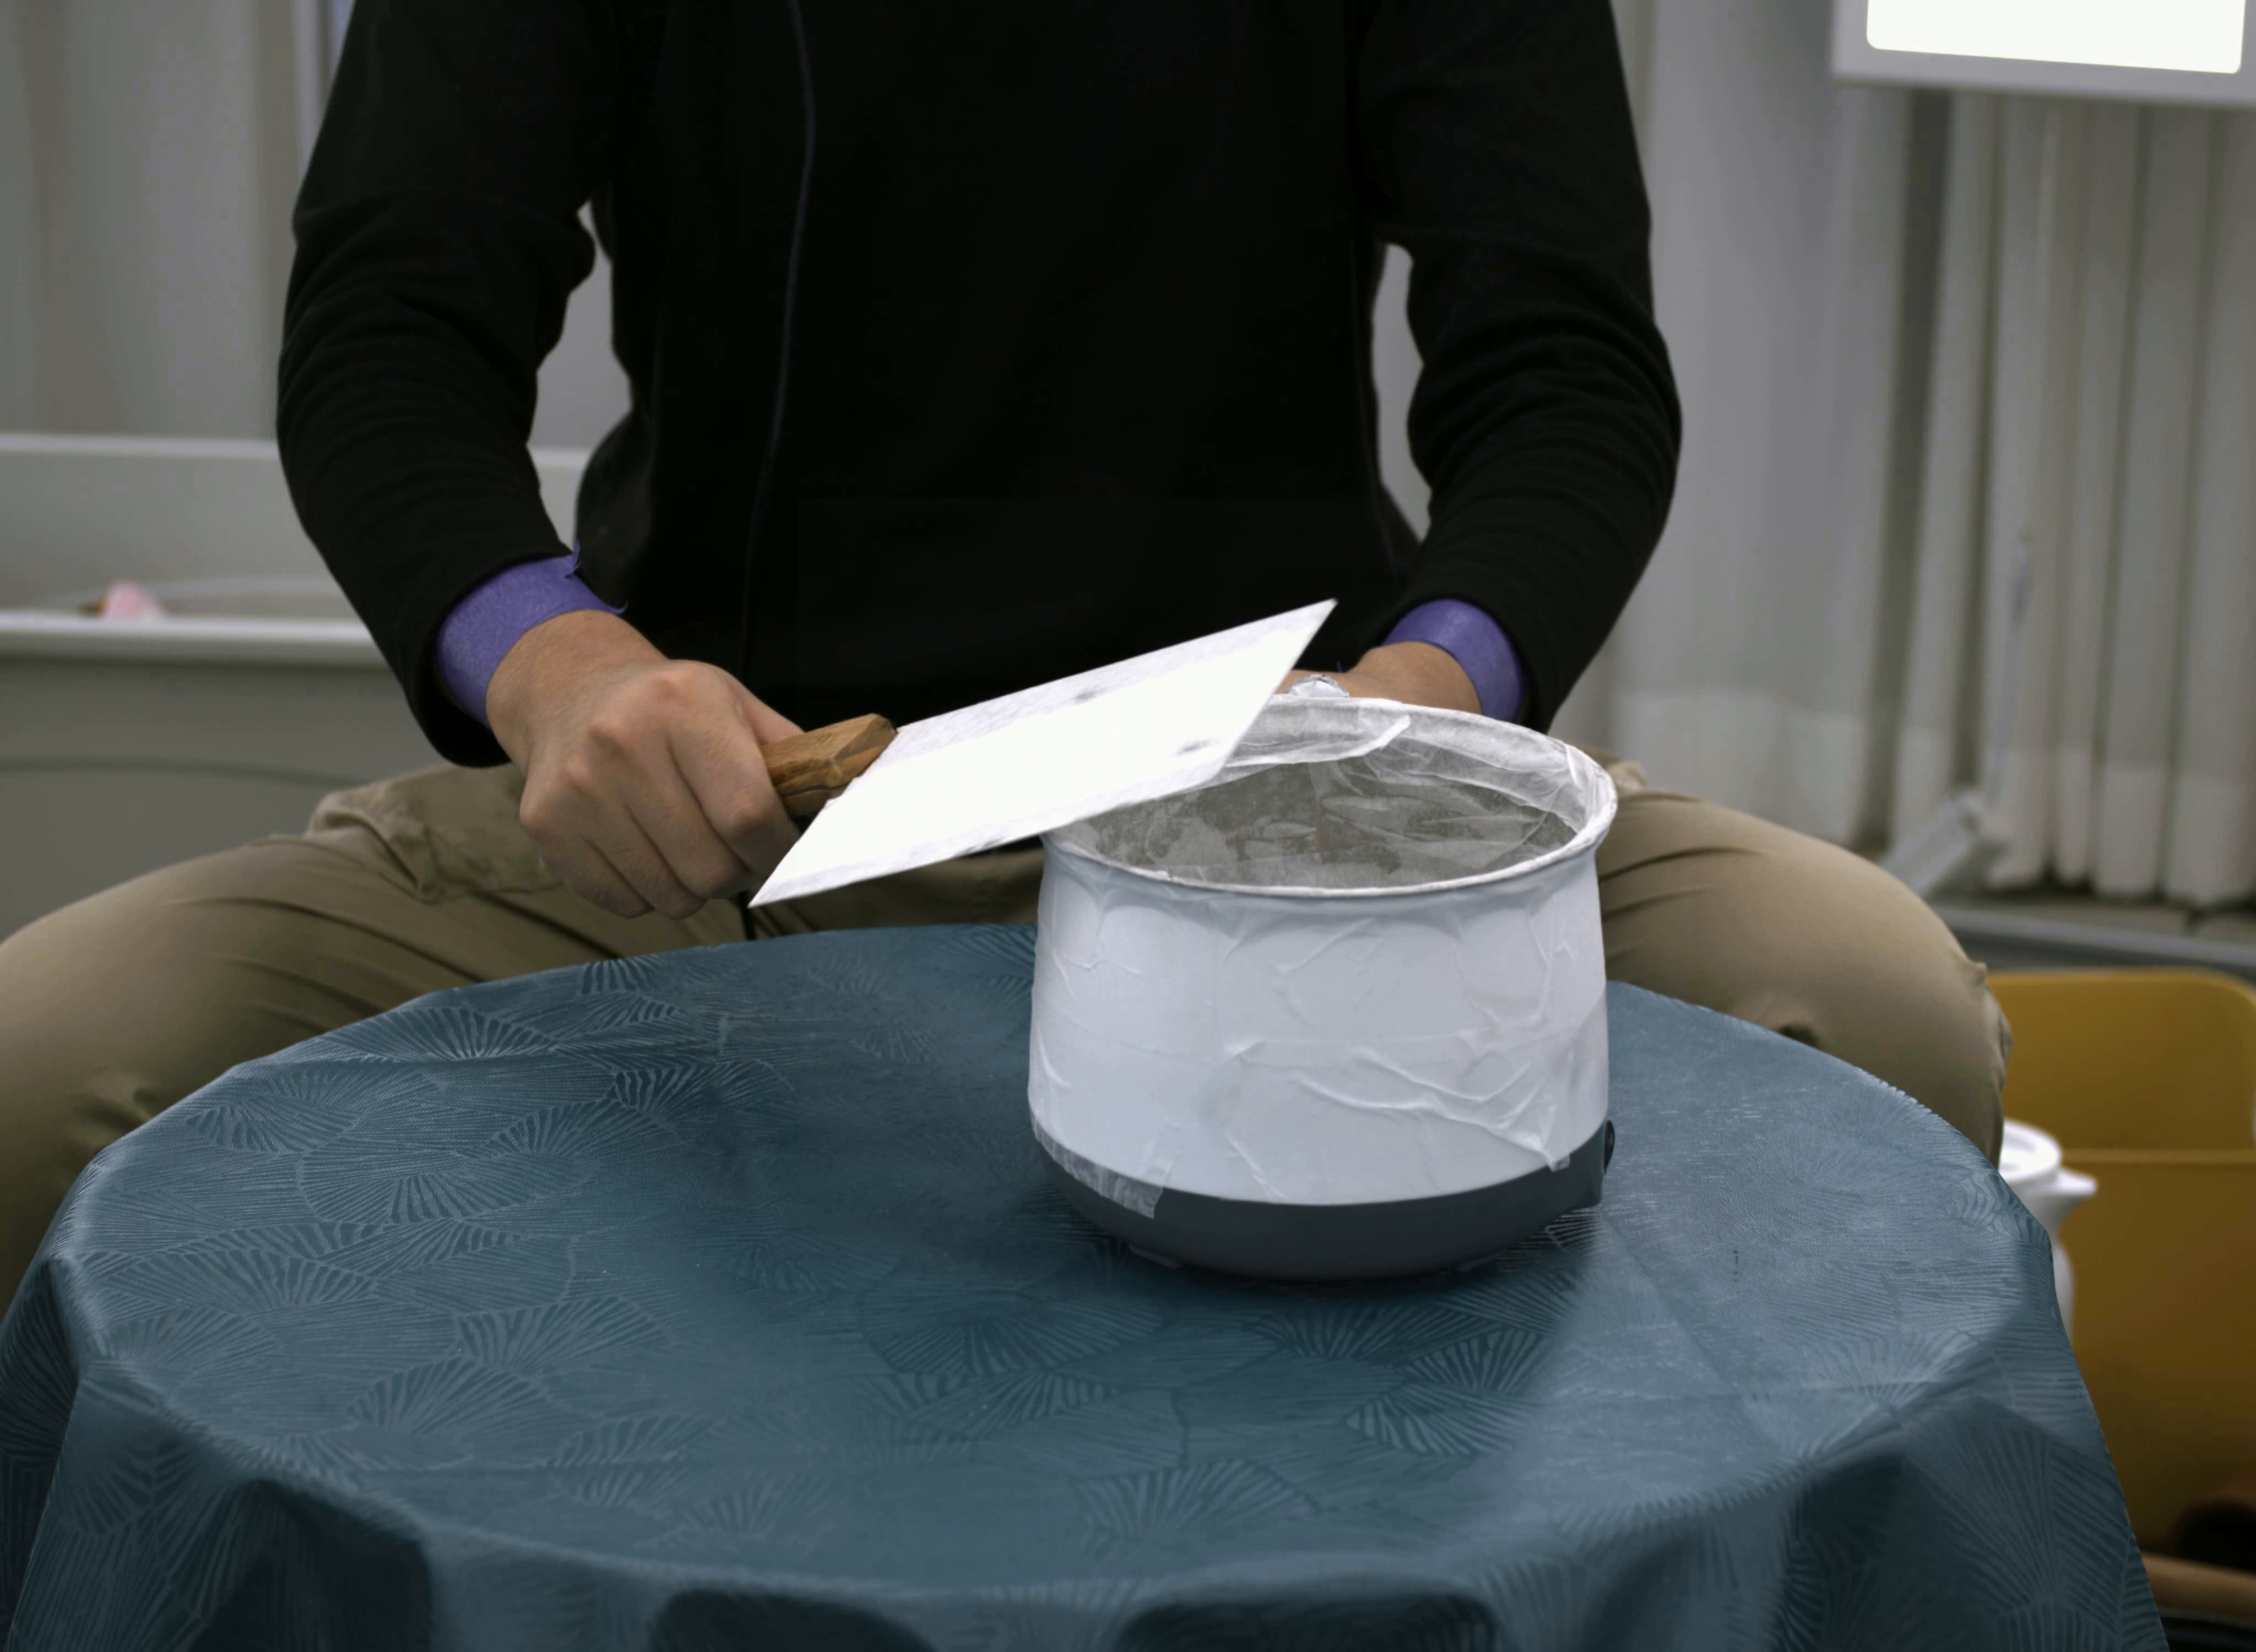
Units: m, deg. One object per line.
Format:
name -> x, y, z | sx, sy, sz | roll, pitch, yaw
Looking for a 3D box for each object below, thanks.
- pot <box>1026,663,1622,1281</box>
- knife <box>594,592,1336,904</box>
pot -> 0.057, 0.038, 1.609 | 0.178, 0.138, 0.232 | 1, 21, -1
knife -> -0.066, -0.012, 1.612 | 0.303, 0.021, 0.092 | -16, 25, 39
